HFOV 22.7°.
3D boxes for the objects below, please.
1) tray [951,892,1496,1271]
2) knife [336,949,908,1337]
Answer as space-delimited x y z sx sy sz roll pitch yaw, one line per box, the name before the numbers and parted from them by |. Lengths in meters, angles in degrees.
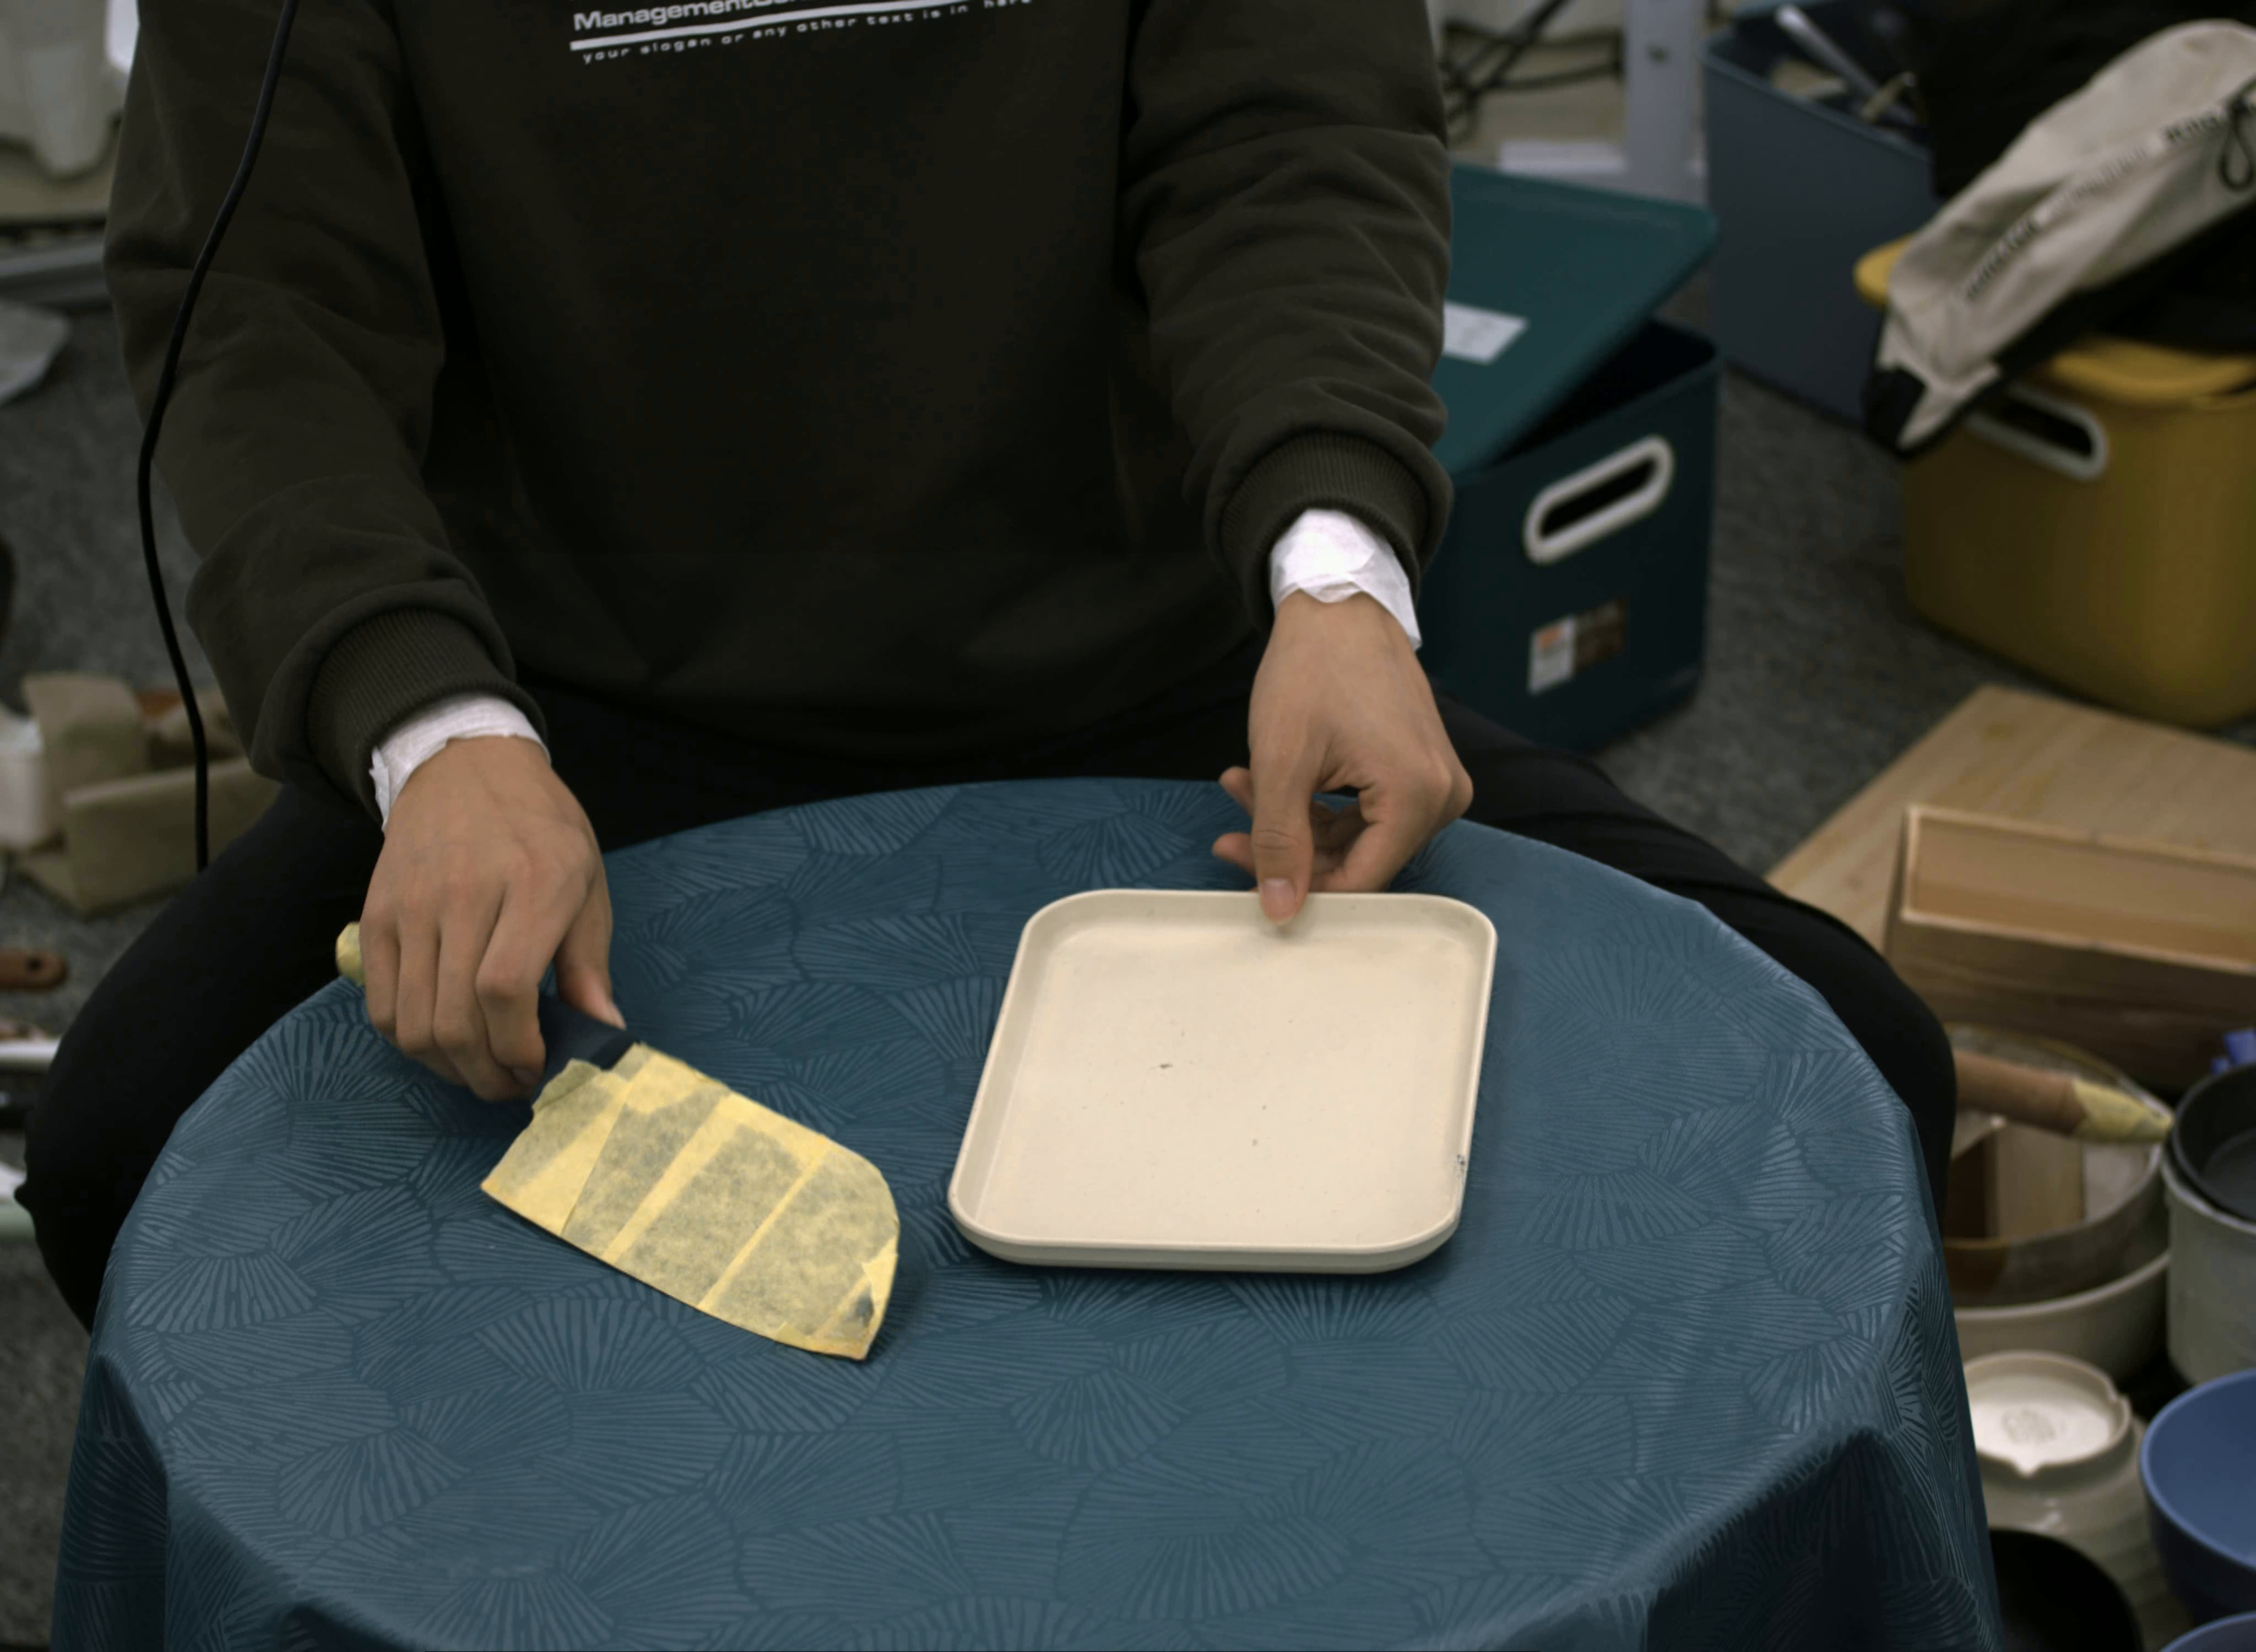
tray | 0.036 0.086 1.908 0.170 0.017 0.243 0 27 7
knife | -0.177 0.104 1.869 0.289 0.027 0.082 25 61 39
